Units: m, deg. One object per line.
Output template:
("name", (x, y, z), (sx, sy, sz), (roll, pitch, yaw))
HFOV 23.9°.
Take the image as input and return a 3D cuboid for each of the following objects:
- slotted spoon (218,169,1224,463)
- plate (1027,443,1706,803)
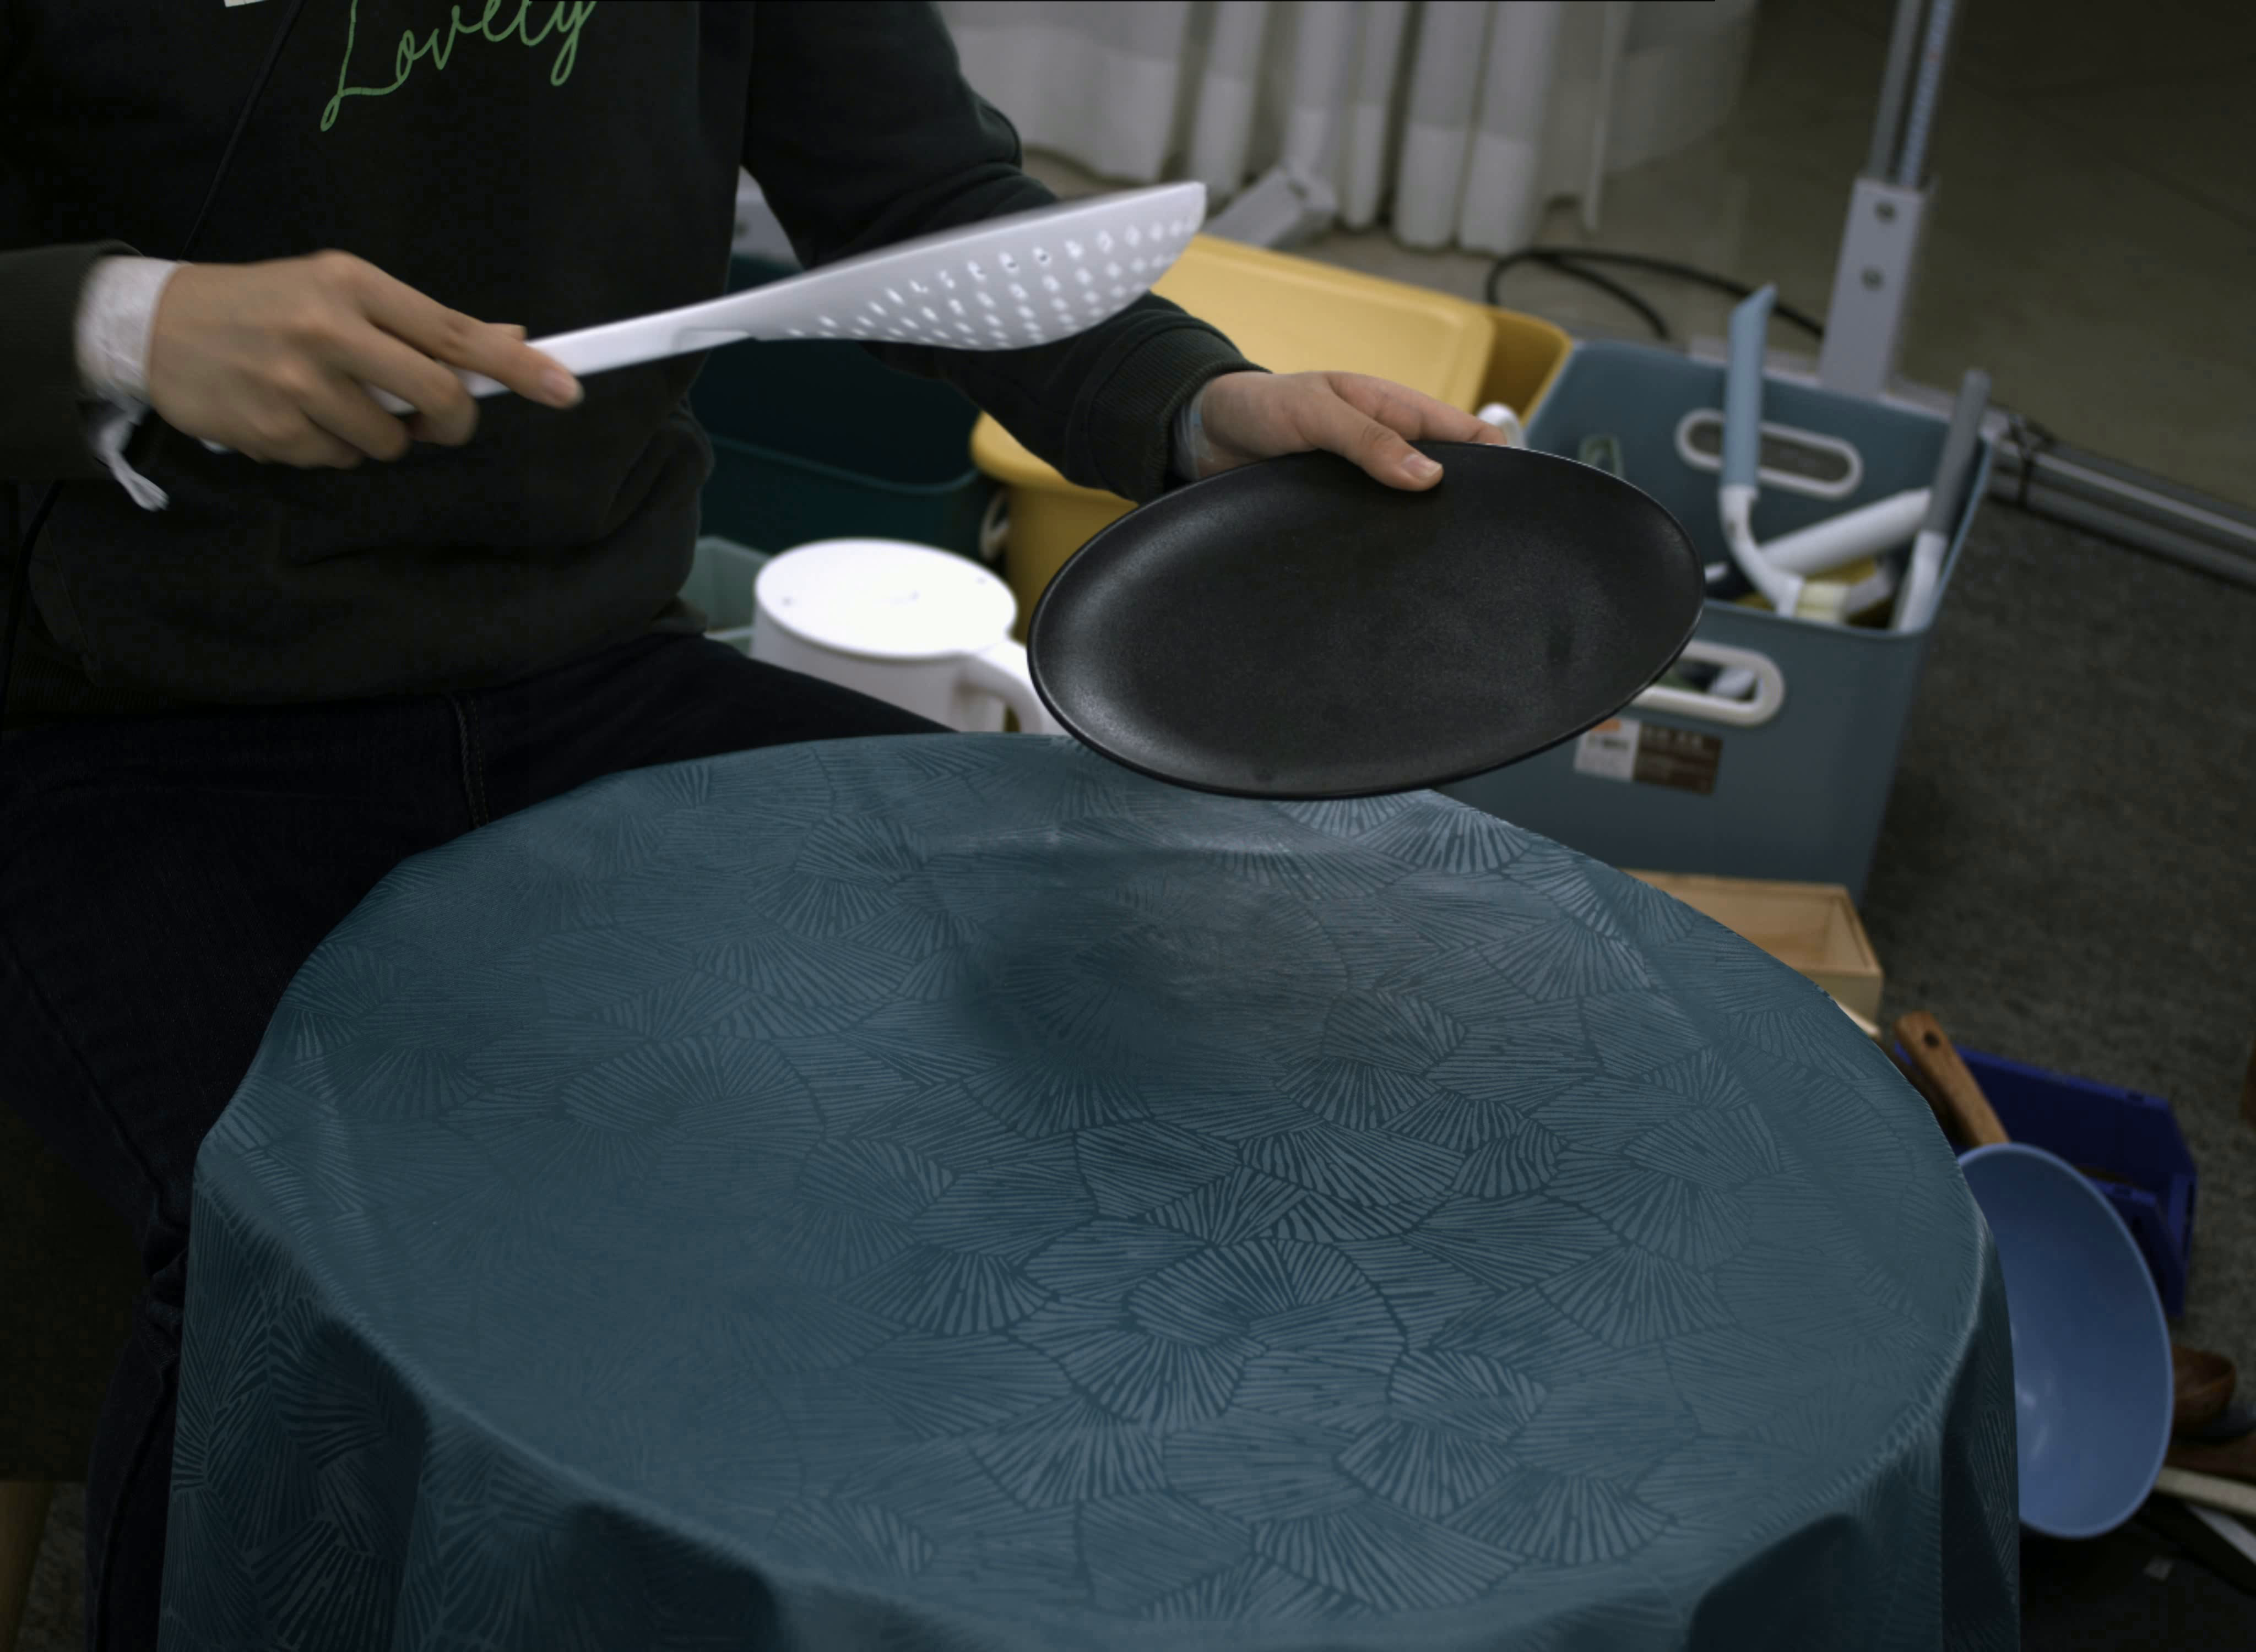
("slotted spoon", (-0.137, -0.169, 1.781), (0.349, 0.046, 0.136), (-8, 8, 6))
("plate", (0.085, -0.068, 1.897), (0.244, 0.023, 0.246), (-7, 32, 4))
